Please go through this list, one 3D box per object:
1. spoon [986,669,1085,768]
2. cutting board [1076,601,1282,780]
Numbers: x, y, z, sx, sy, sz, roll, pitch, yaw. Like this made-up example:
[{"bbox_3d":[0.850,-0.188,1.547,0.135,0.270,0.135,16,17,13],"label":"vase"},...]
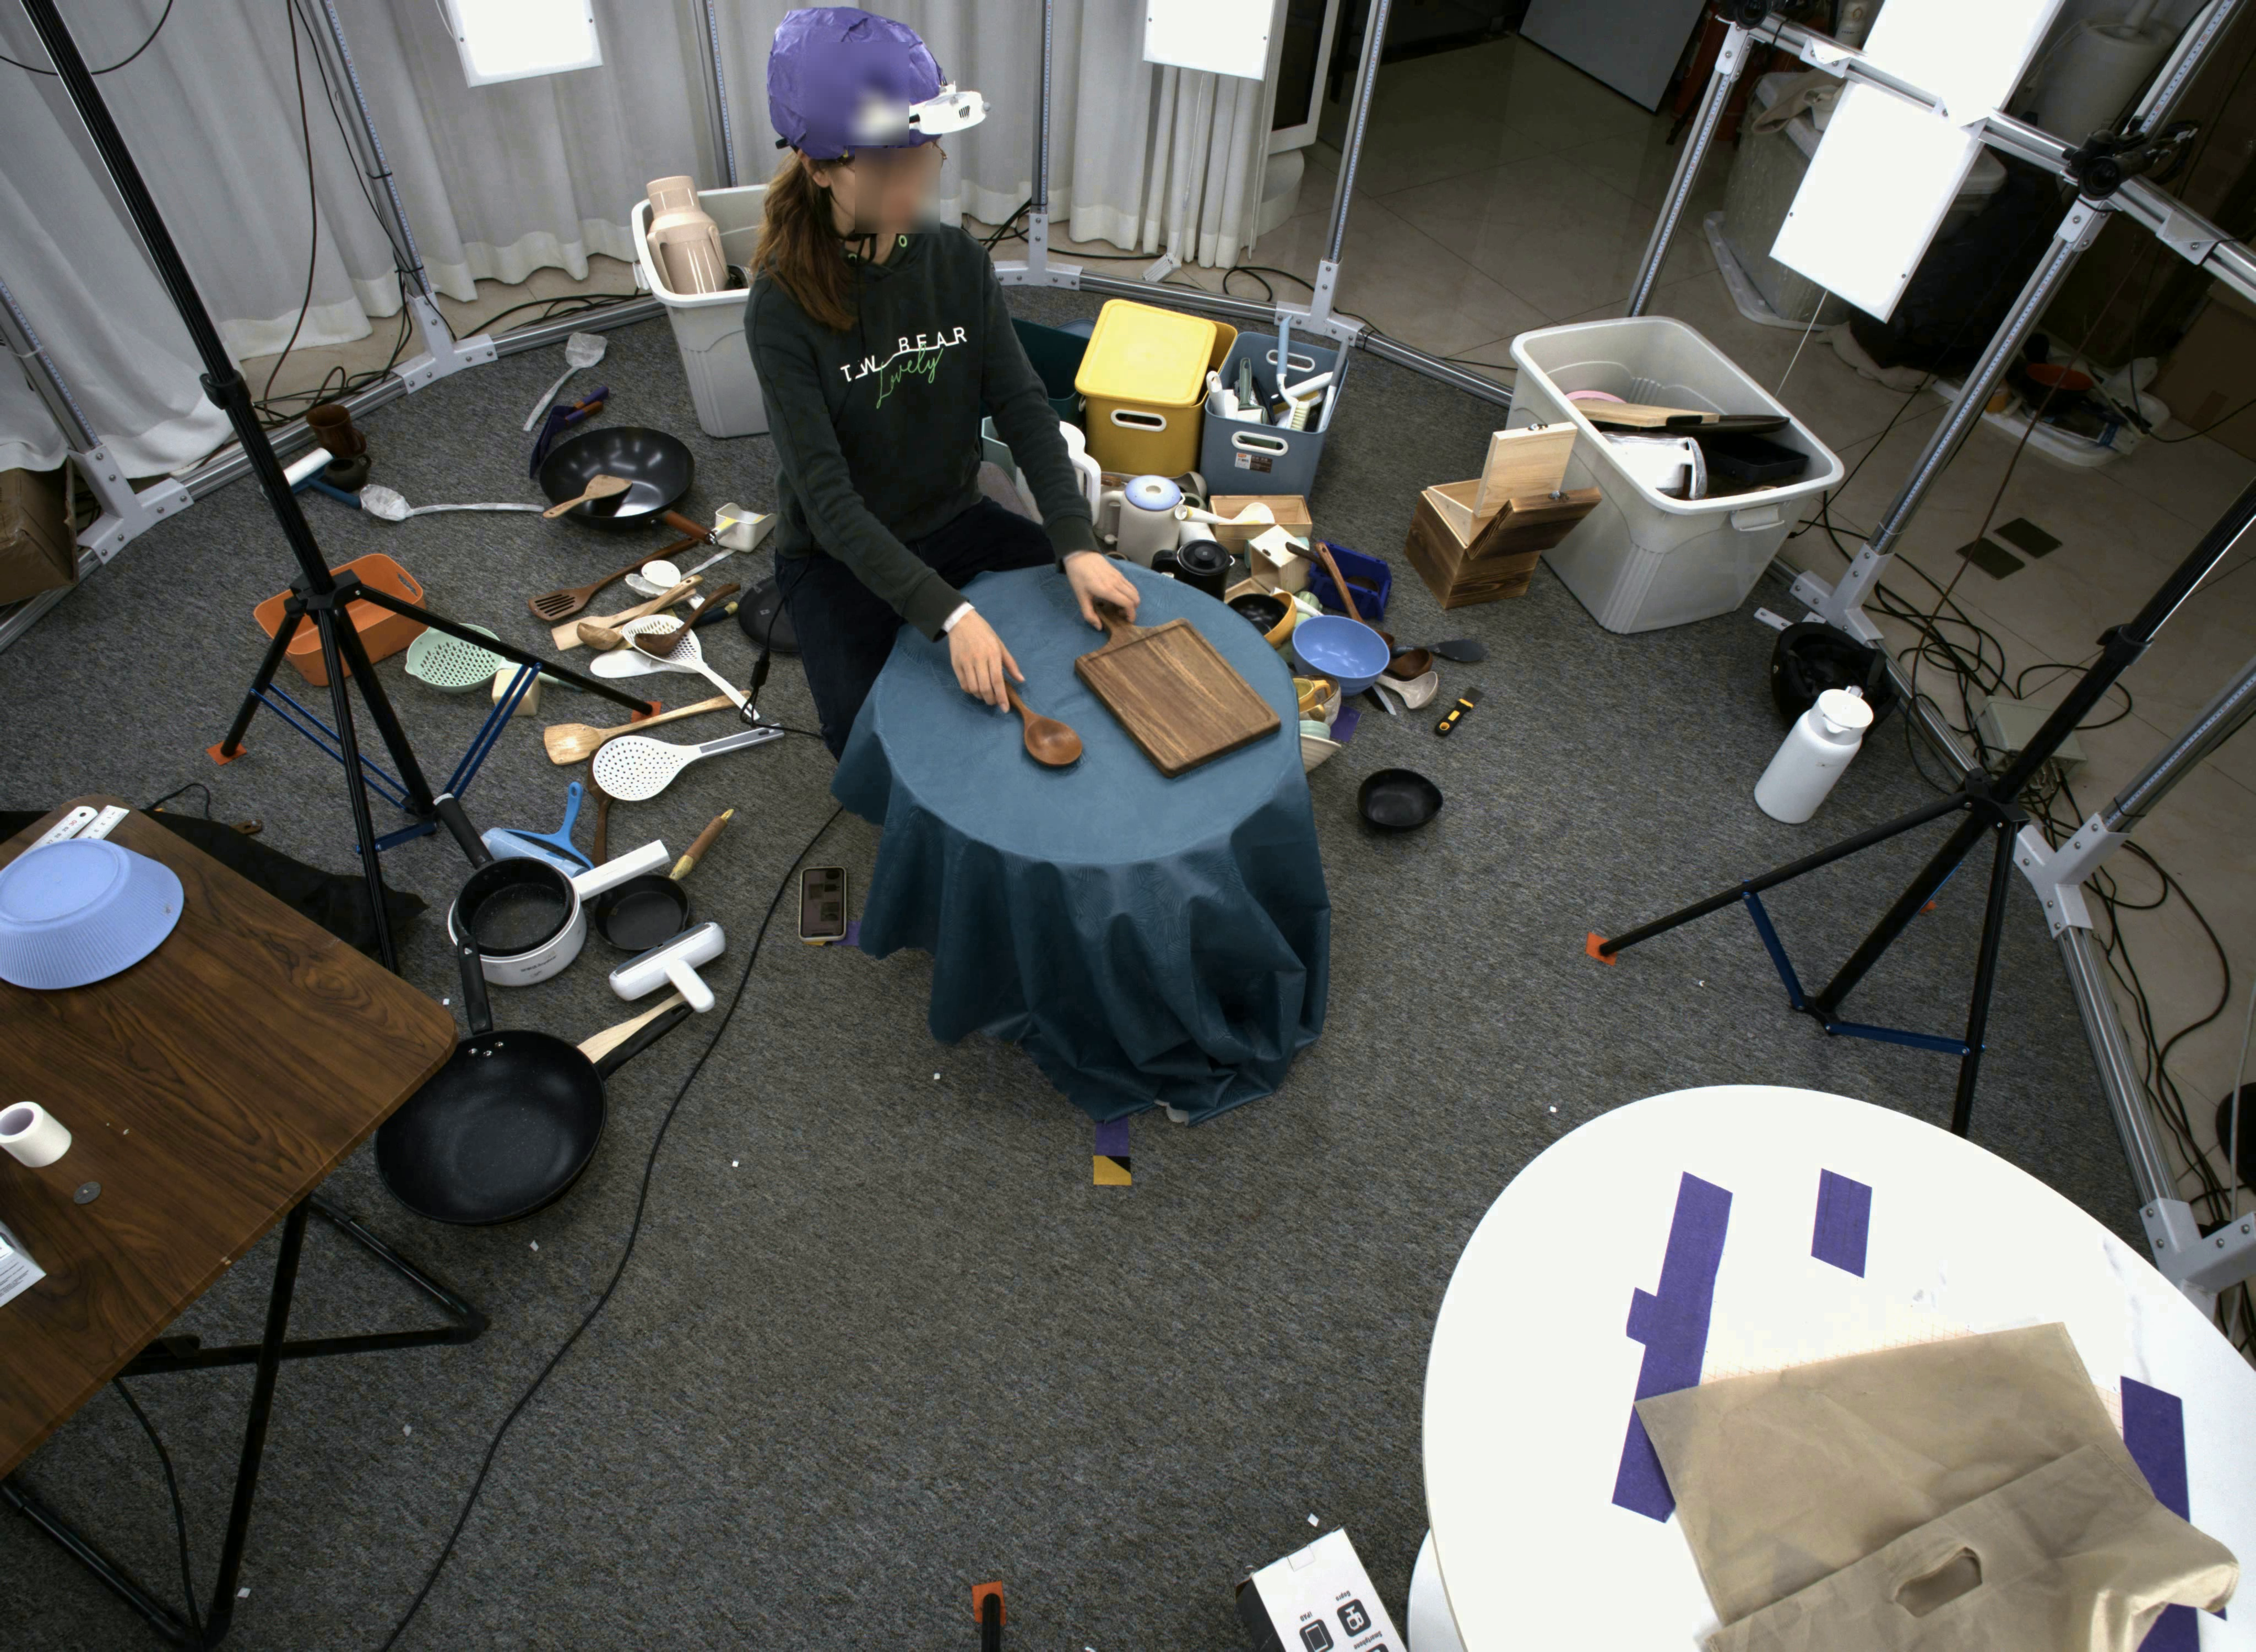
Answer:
[{"bbox_3d":[-0.136,-0.152,1.796,0.076,0.017,0.220,-27,56,-22],"label":"spoon"},{"bbox_3d":[0.044,-0.220,1.868,0.202,0.022,0.359,-24,54,-22],"label":"cutting board"}]
